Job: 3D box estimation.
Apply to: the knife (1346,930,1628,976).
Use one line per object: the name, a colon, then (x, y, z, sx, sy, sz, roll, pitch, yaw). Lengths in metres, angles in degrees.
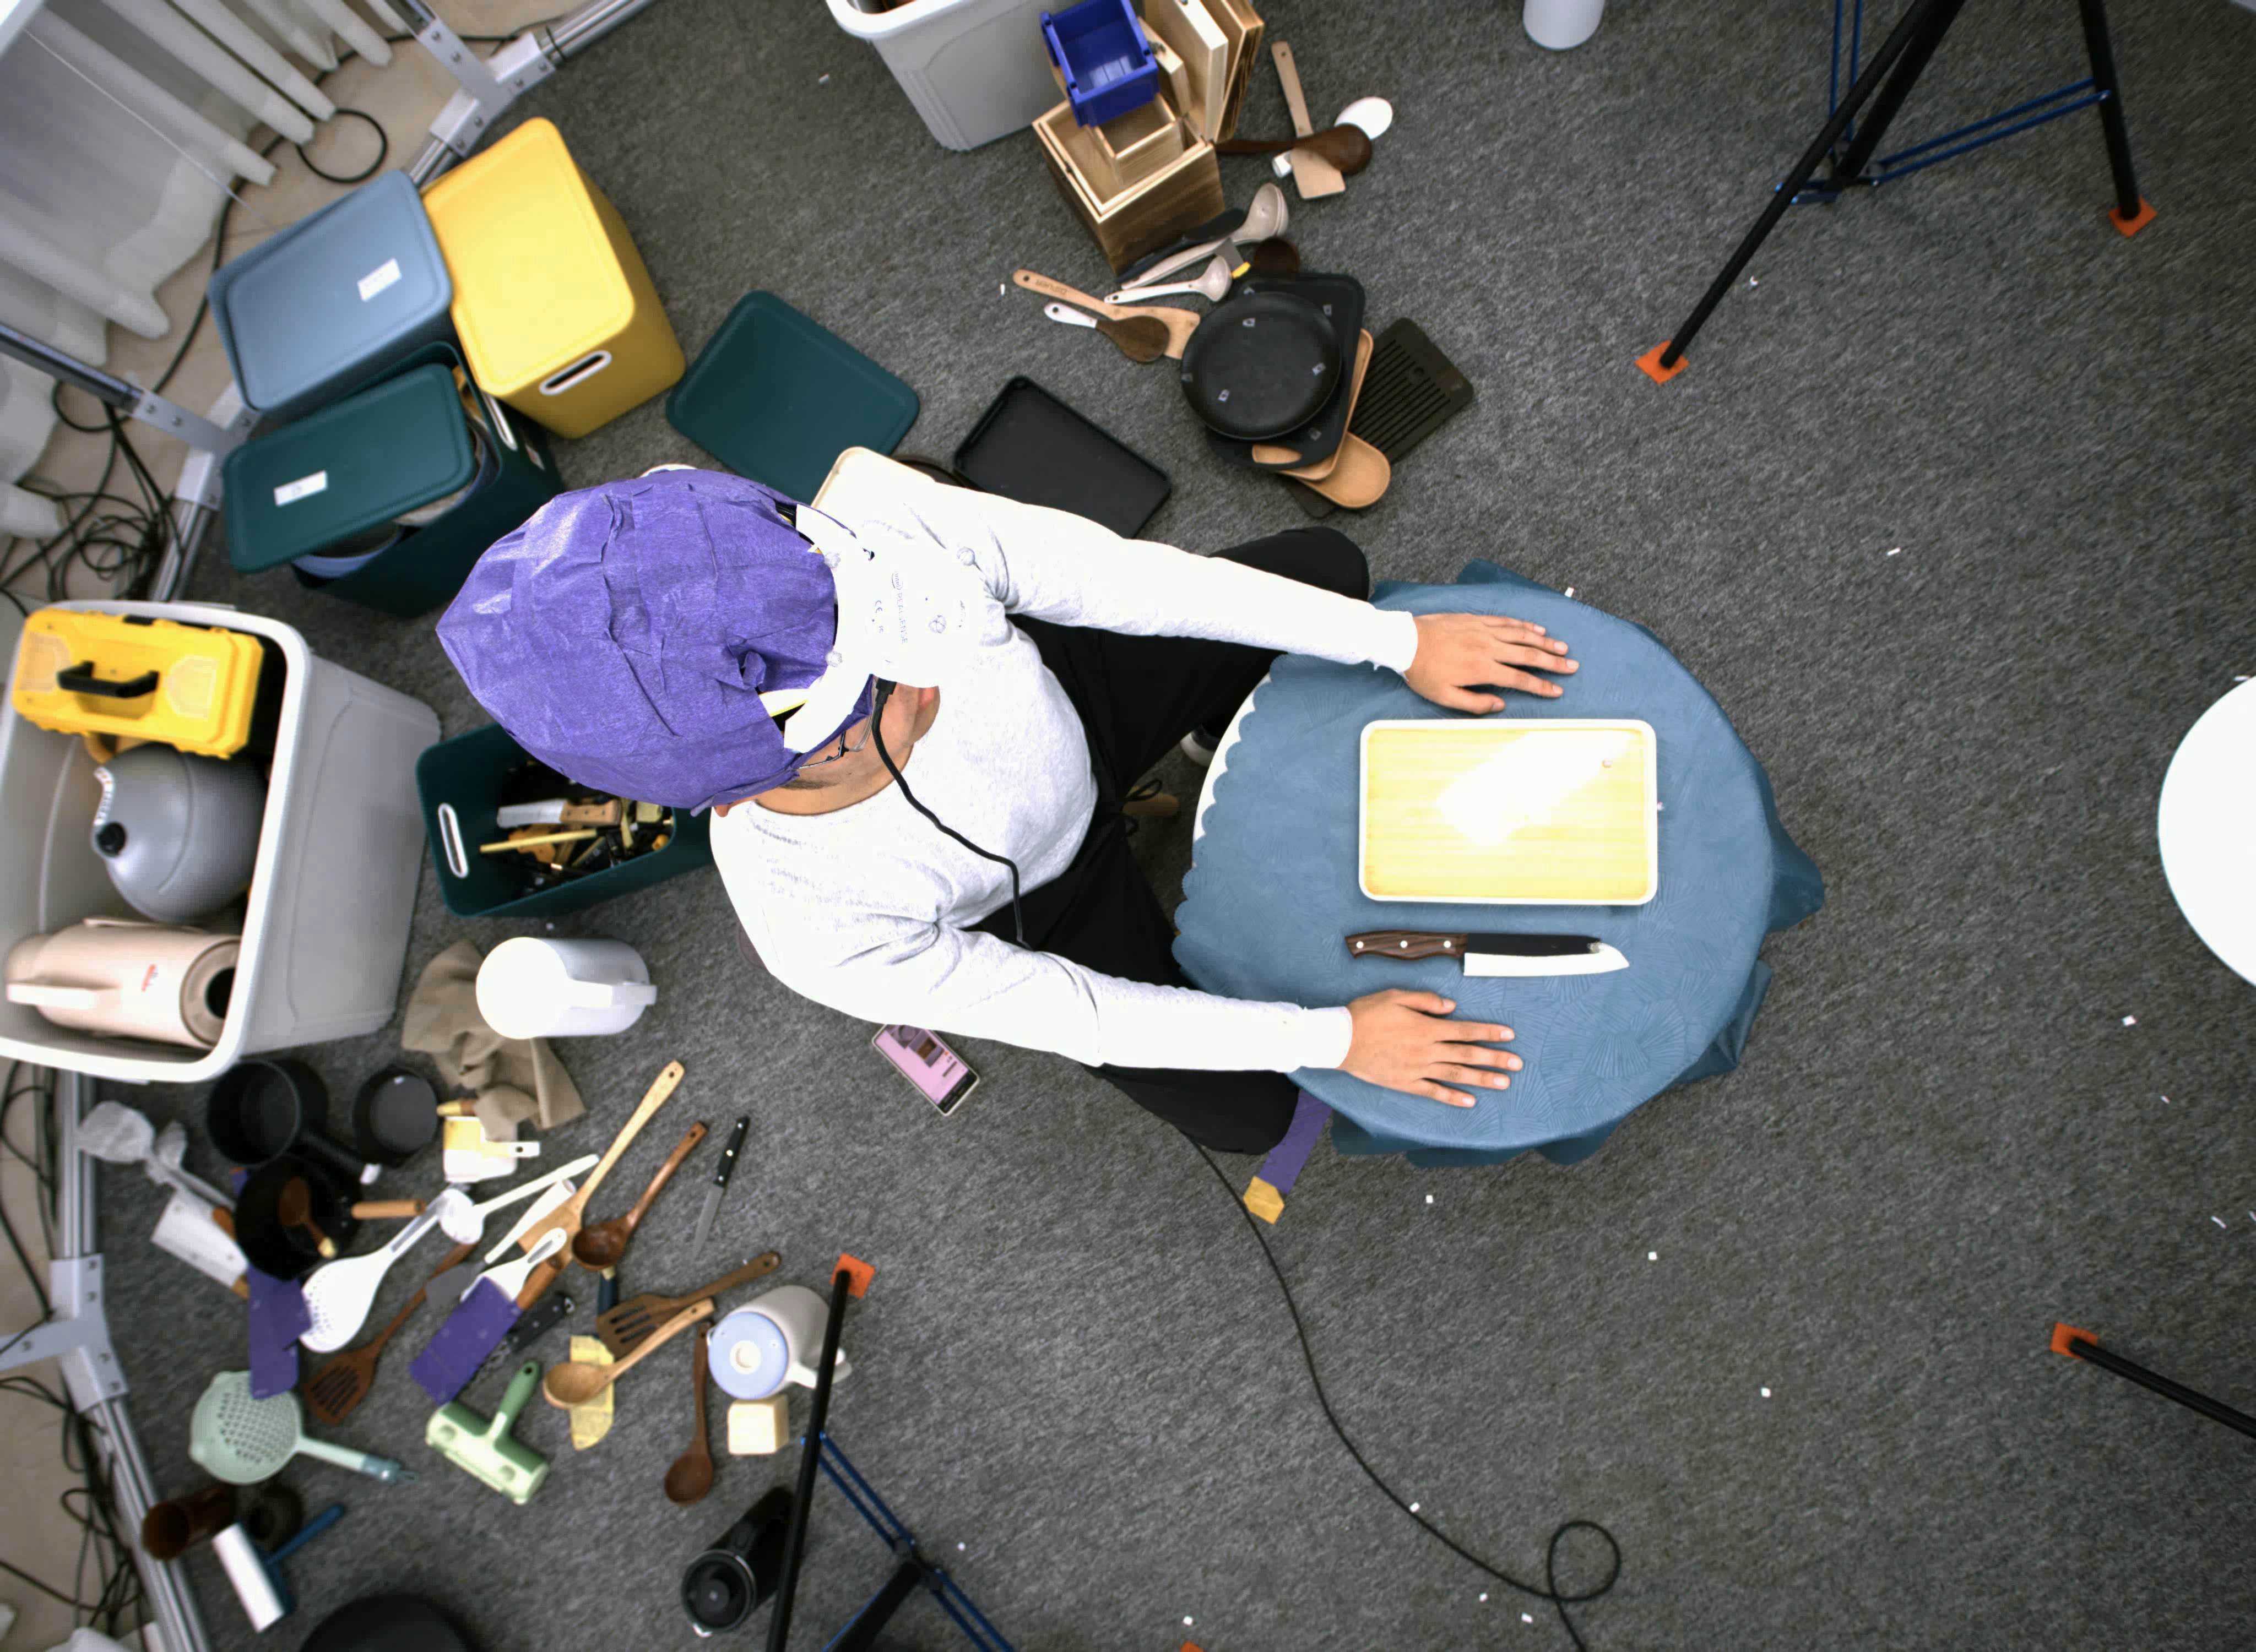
knife: (0.372, 0.129, 1.430, 0.290, 0.020, 0.050, 2, 92, 8)

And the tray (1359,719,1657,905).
tray: (0.393, -0.018, 1.429, 0.301, 0.027, 0.191, 1, 87, 11)
